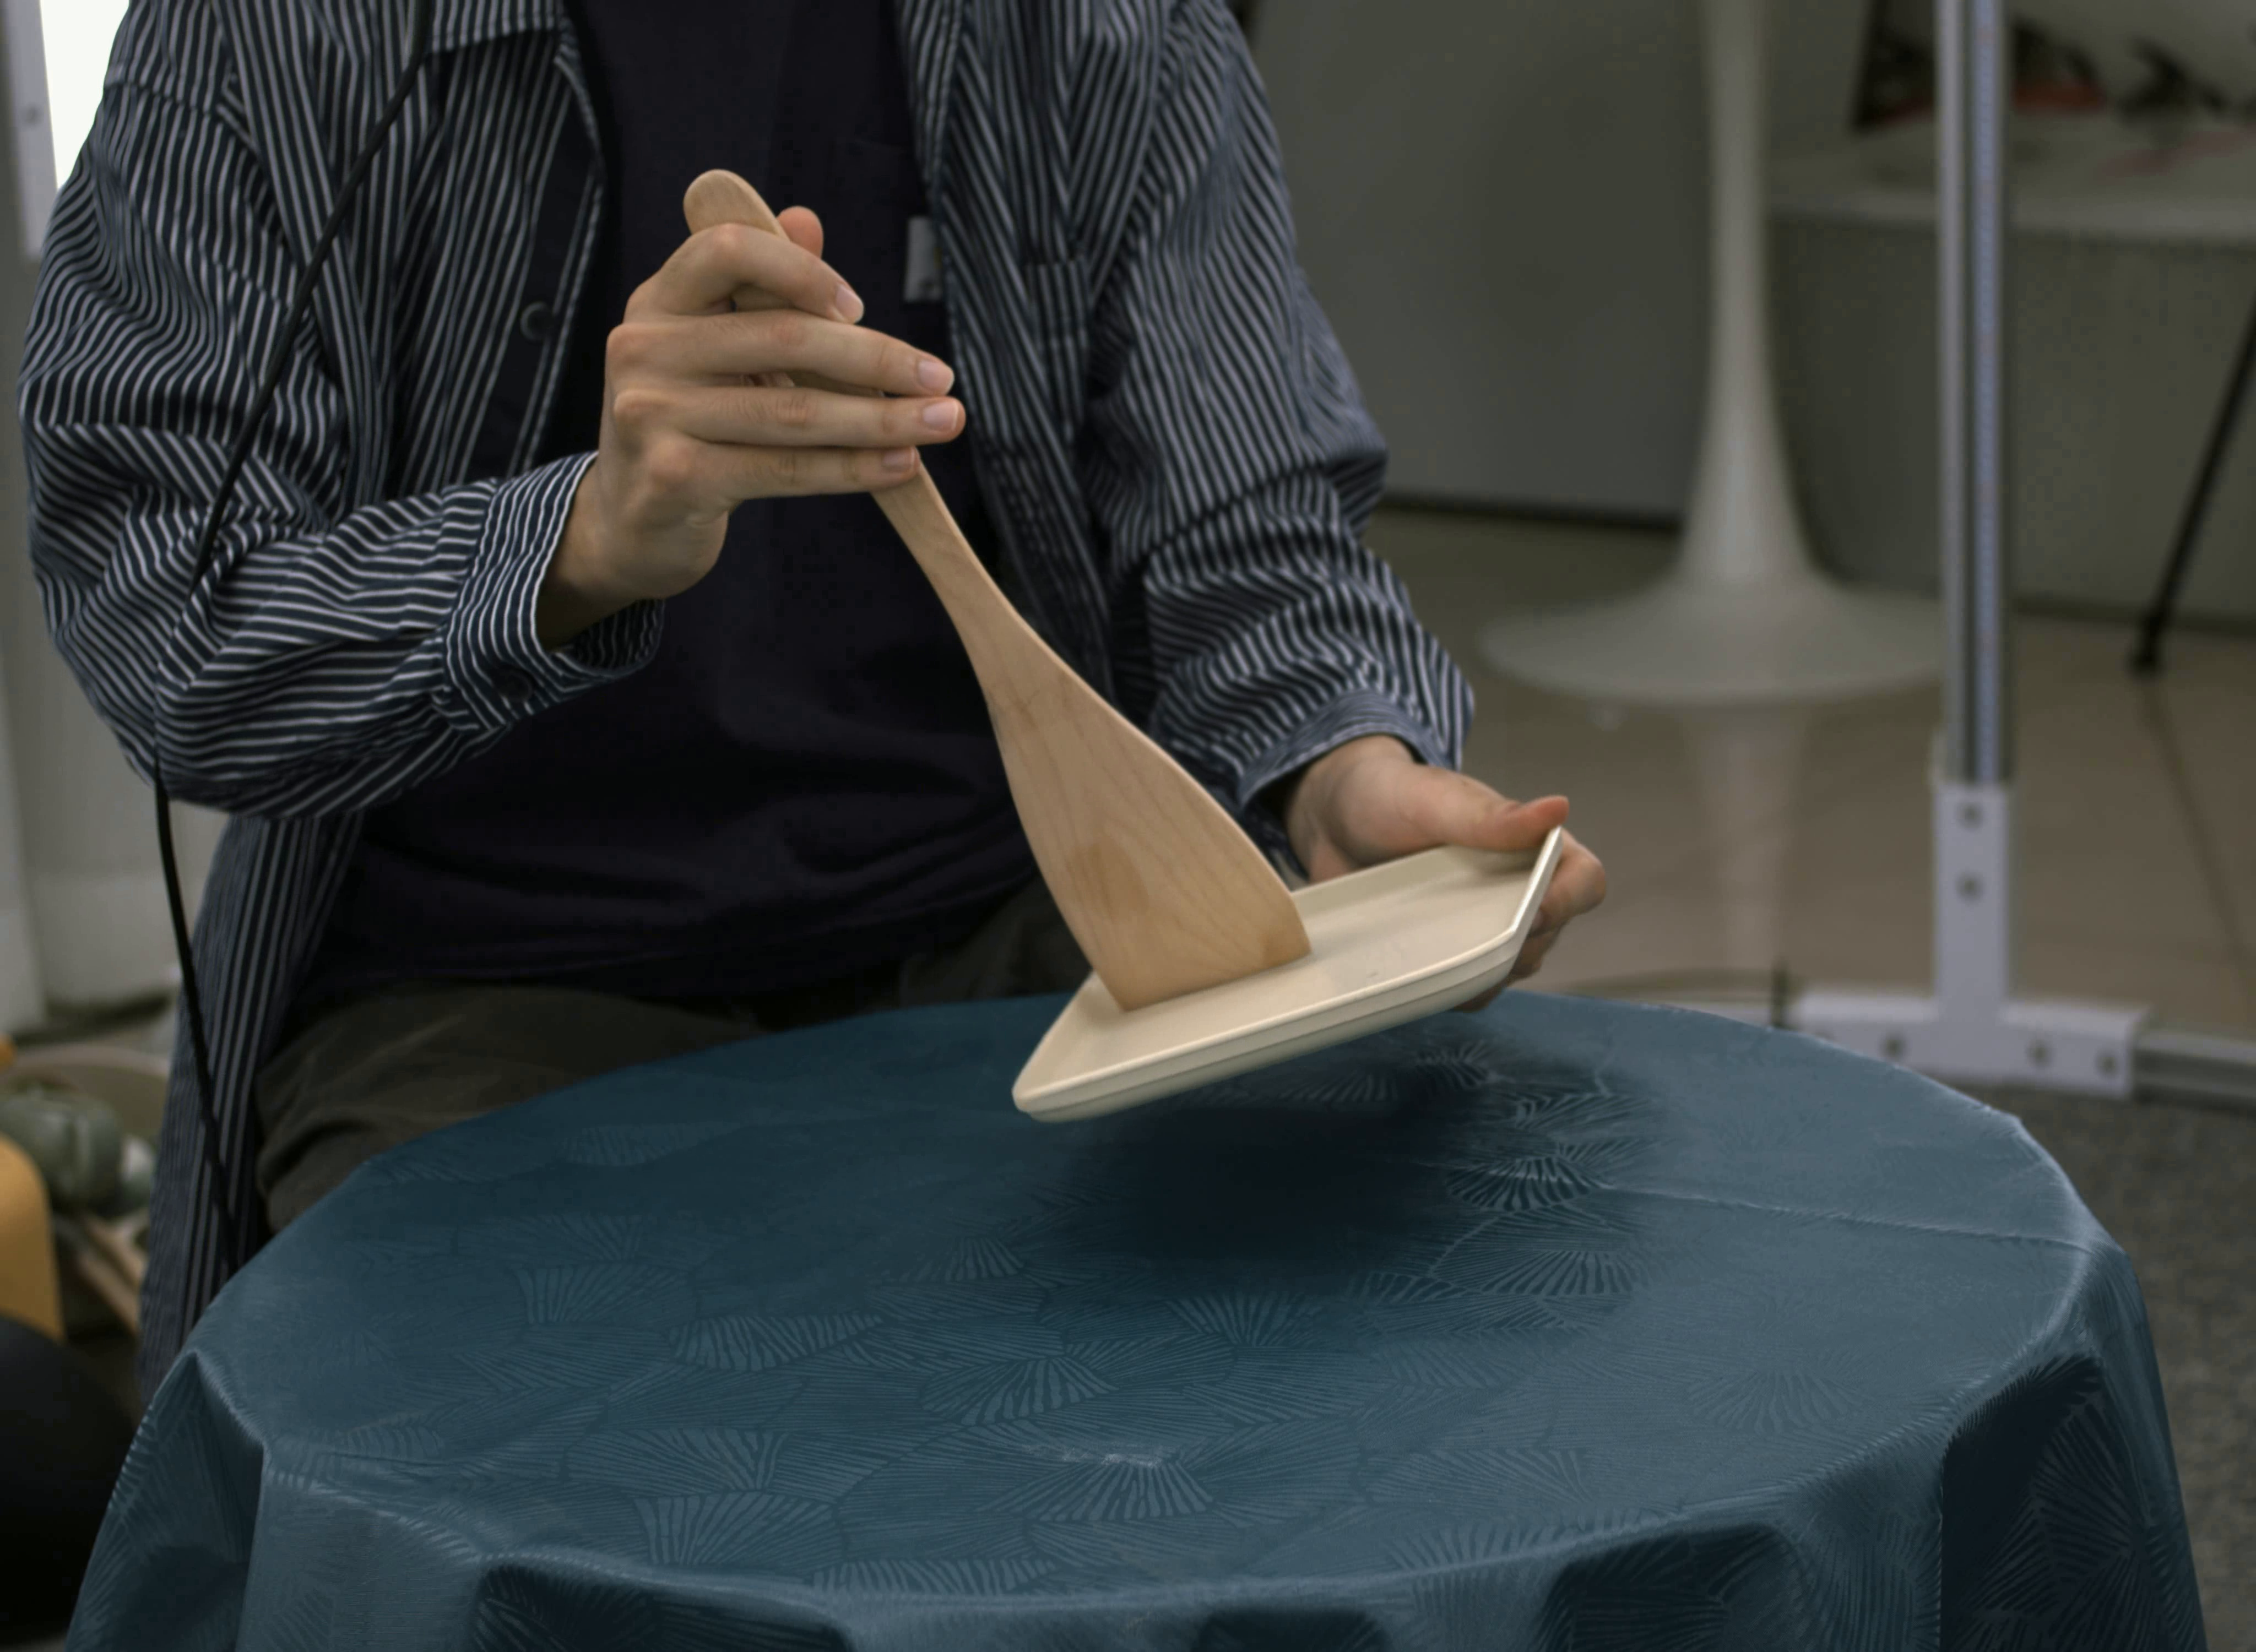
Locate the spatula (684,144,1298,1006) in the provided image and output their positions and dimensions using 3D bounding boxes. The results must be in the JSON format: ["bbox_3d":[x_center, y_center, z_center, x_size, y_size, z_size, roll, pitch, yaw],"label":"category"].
[{"bbox_3d":[-0.055,-0.081,1.792,0.080,0.329,0.016,-27,7,29],"label":"spatula"}]

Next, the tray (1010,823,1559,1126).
[{"bbox_3d":[0.056,0.048,1.754,0.170,0.017,0.238,-19,6,12],"label":"tray"}]
